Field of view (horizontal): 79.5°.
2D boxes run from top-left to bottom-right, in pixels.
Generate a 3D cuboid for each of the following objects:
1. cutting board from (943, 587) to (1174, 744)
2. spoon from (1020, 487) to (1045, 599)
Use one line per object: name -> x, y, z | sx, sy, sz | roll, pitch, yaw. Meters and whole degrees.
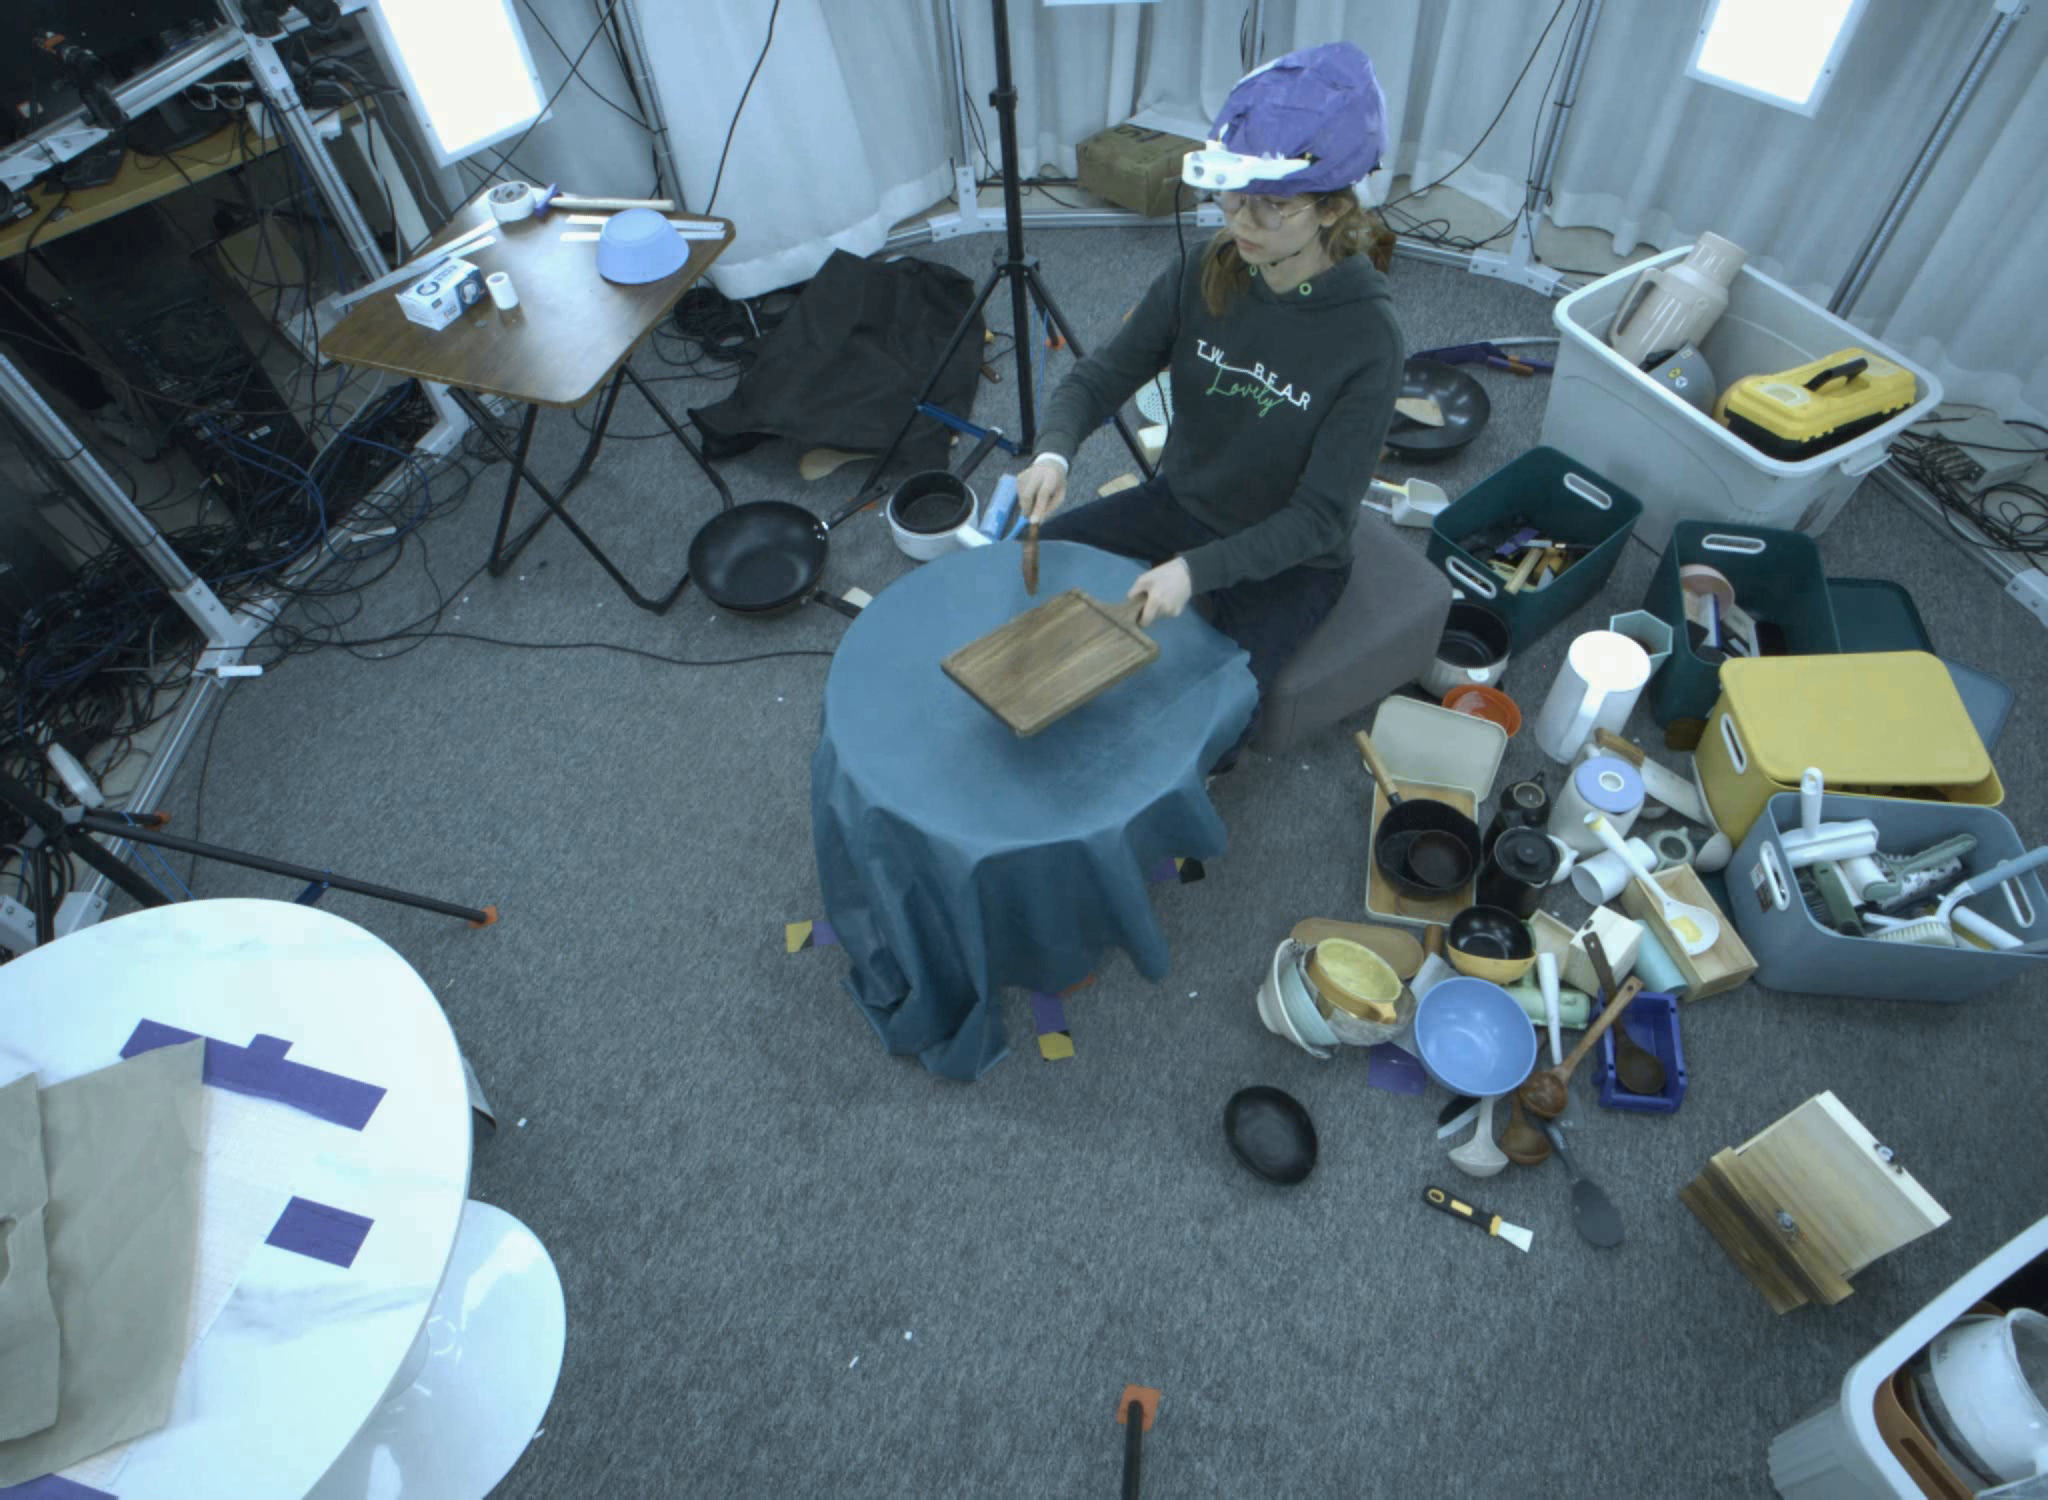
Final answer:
cutting board -> 0.079, -0.145, 1.753 | 0.355, 0.023, 0.196 | -32, 51, -23
spoon -> 0.012, -0.296, 1.714 | 0.017, 0.077, 0.214 | -4, 50, 13
